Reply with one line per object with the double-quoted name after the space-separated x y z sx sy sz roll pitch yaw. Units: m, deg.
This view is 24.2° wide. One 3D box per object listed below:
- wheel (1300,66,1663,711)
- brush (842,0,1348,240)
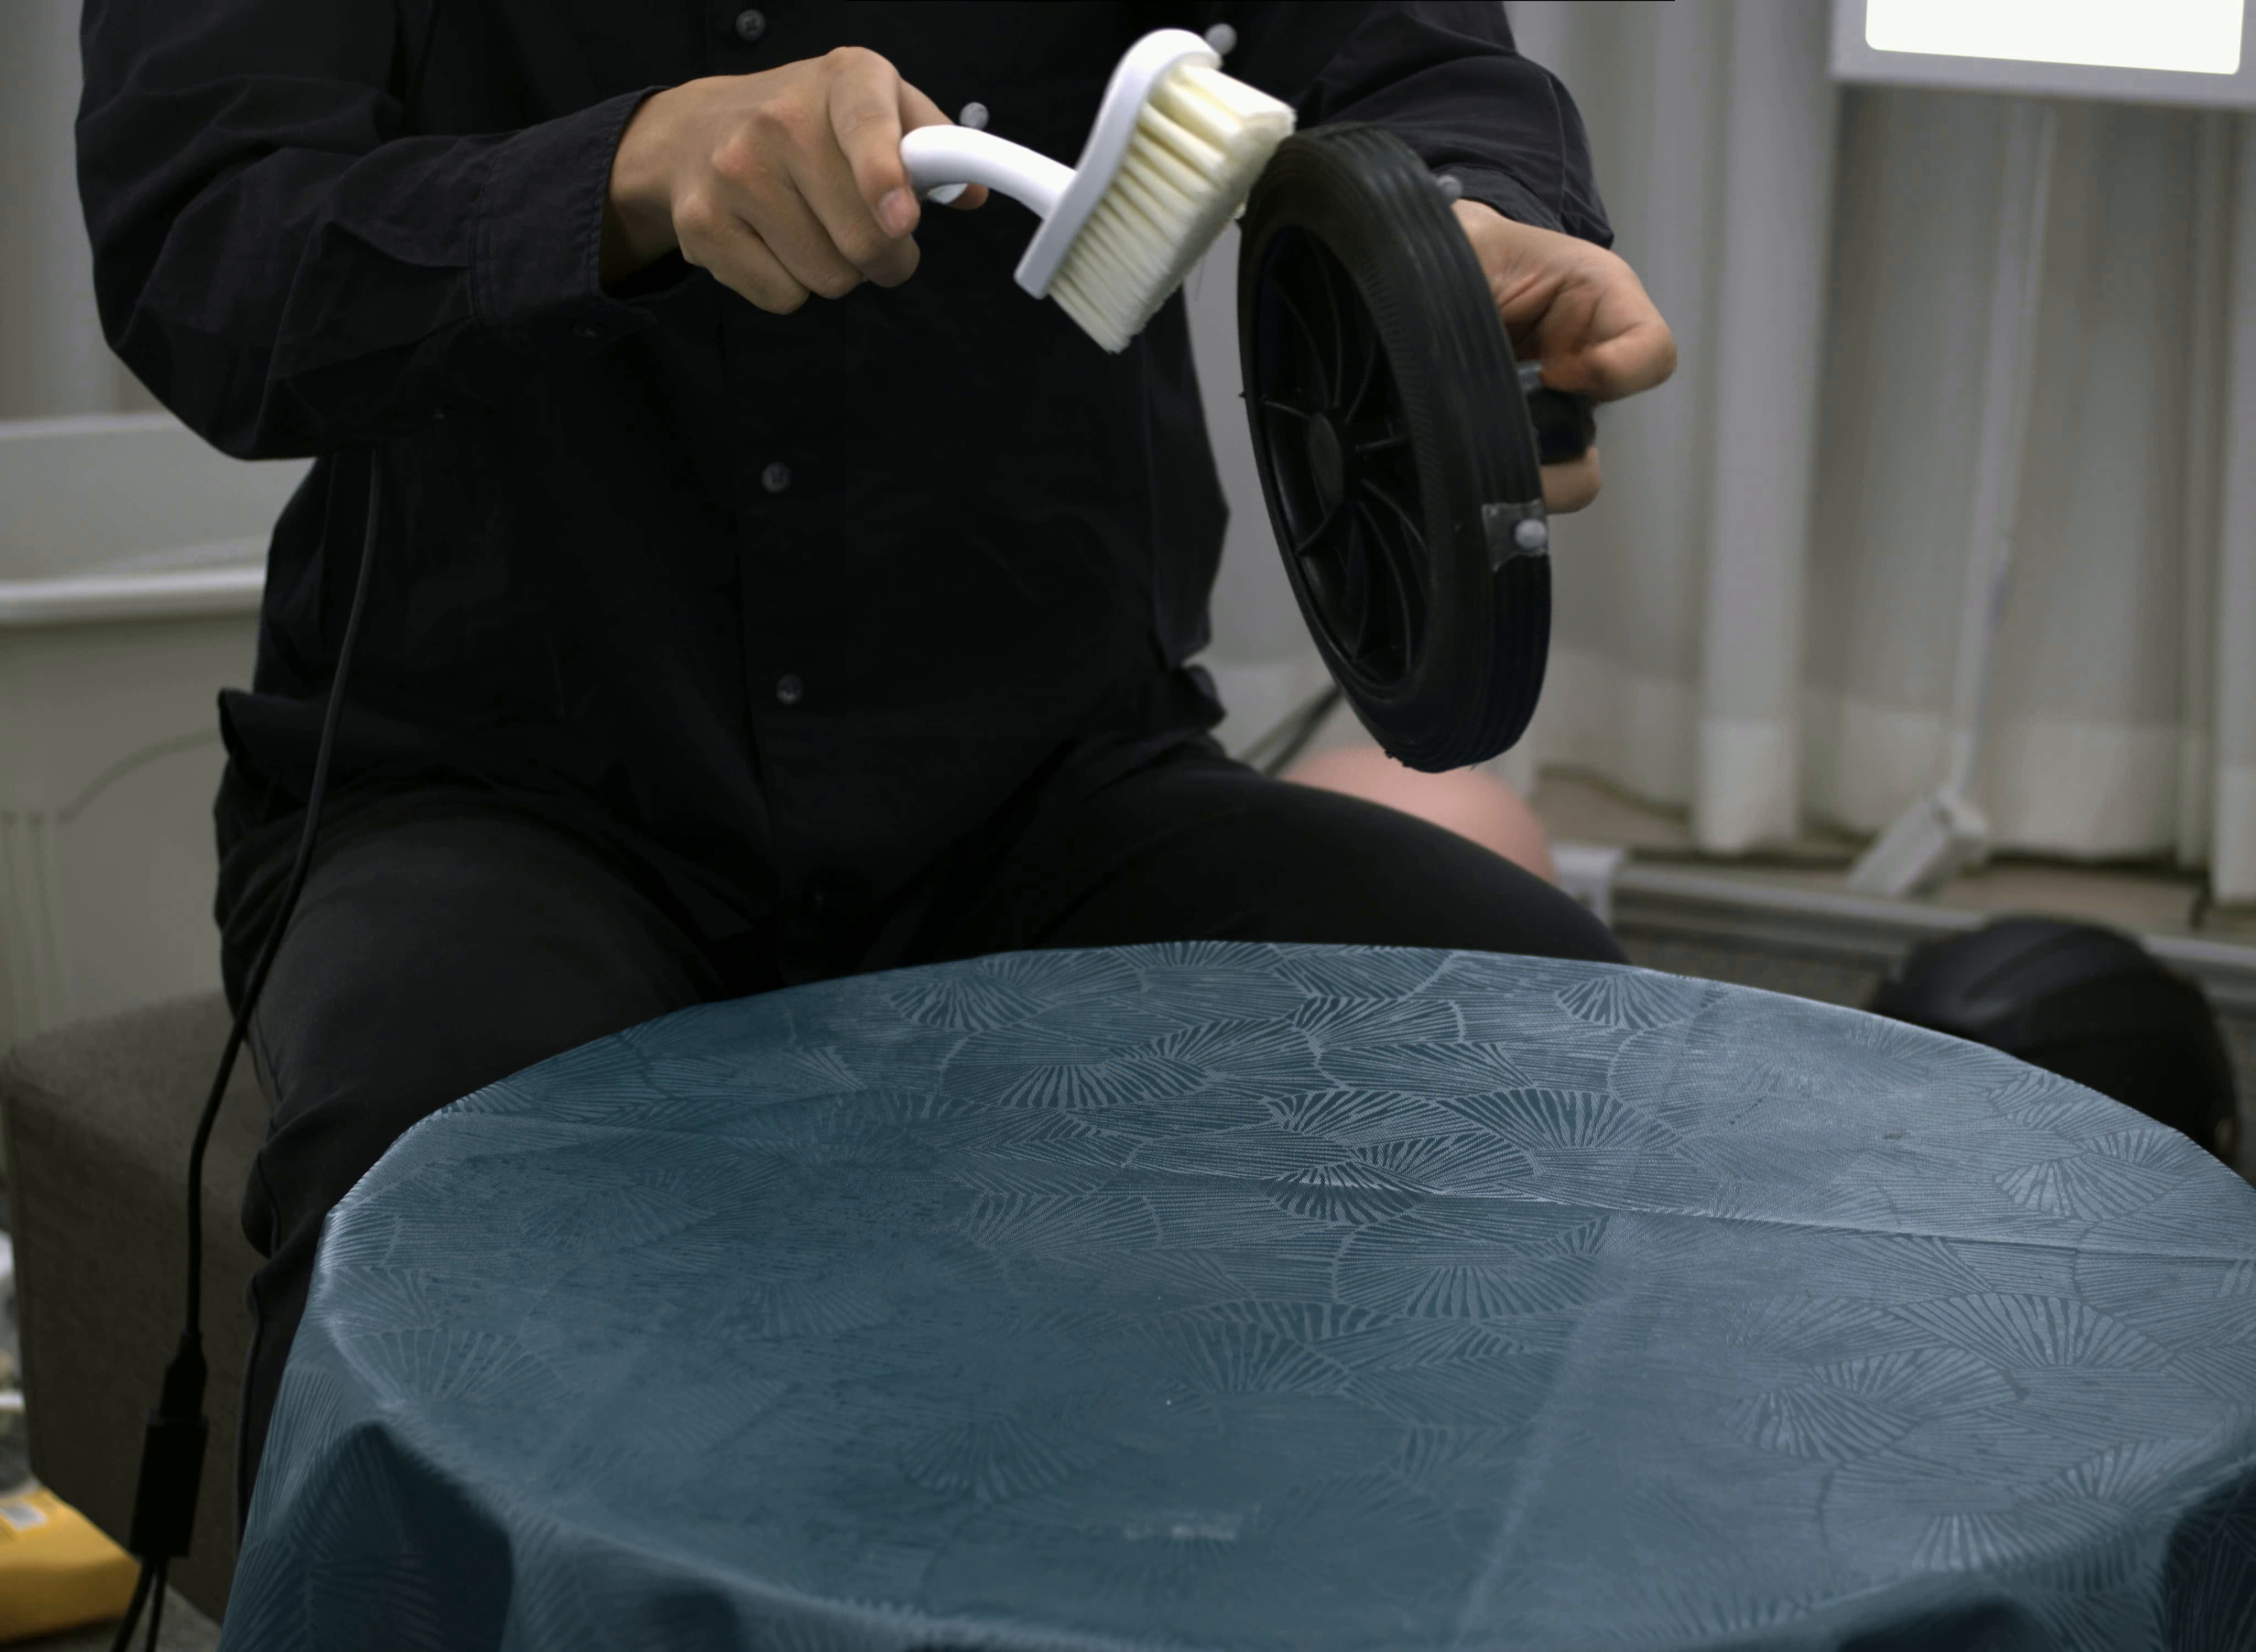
0.115 -0.133 1.547 0.079 0.189 0.187 -15 54 -16 "wheel"
-0.002 -0.216 1.632 0.083 0.085 0.323 -15 1 -21 "brush"
